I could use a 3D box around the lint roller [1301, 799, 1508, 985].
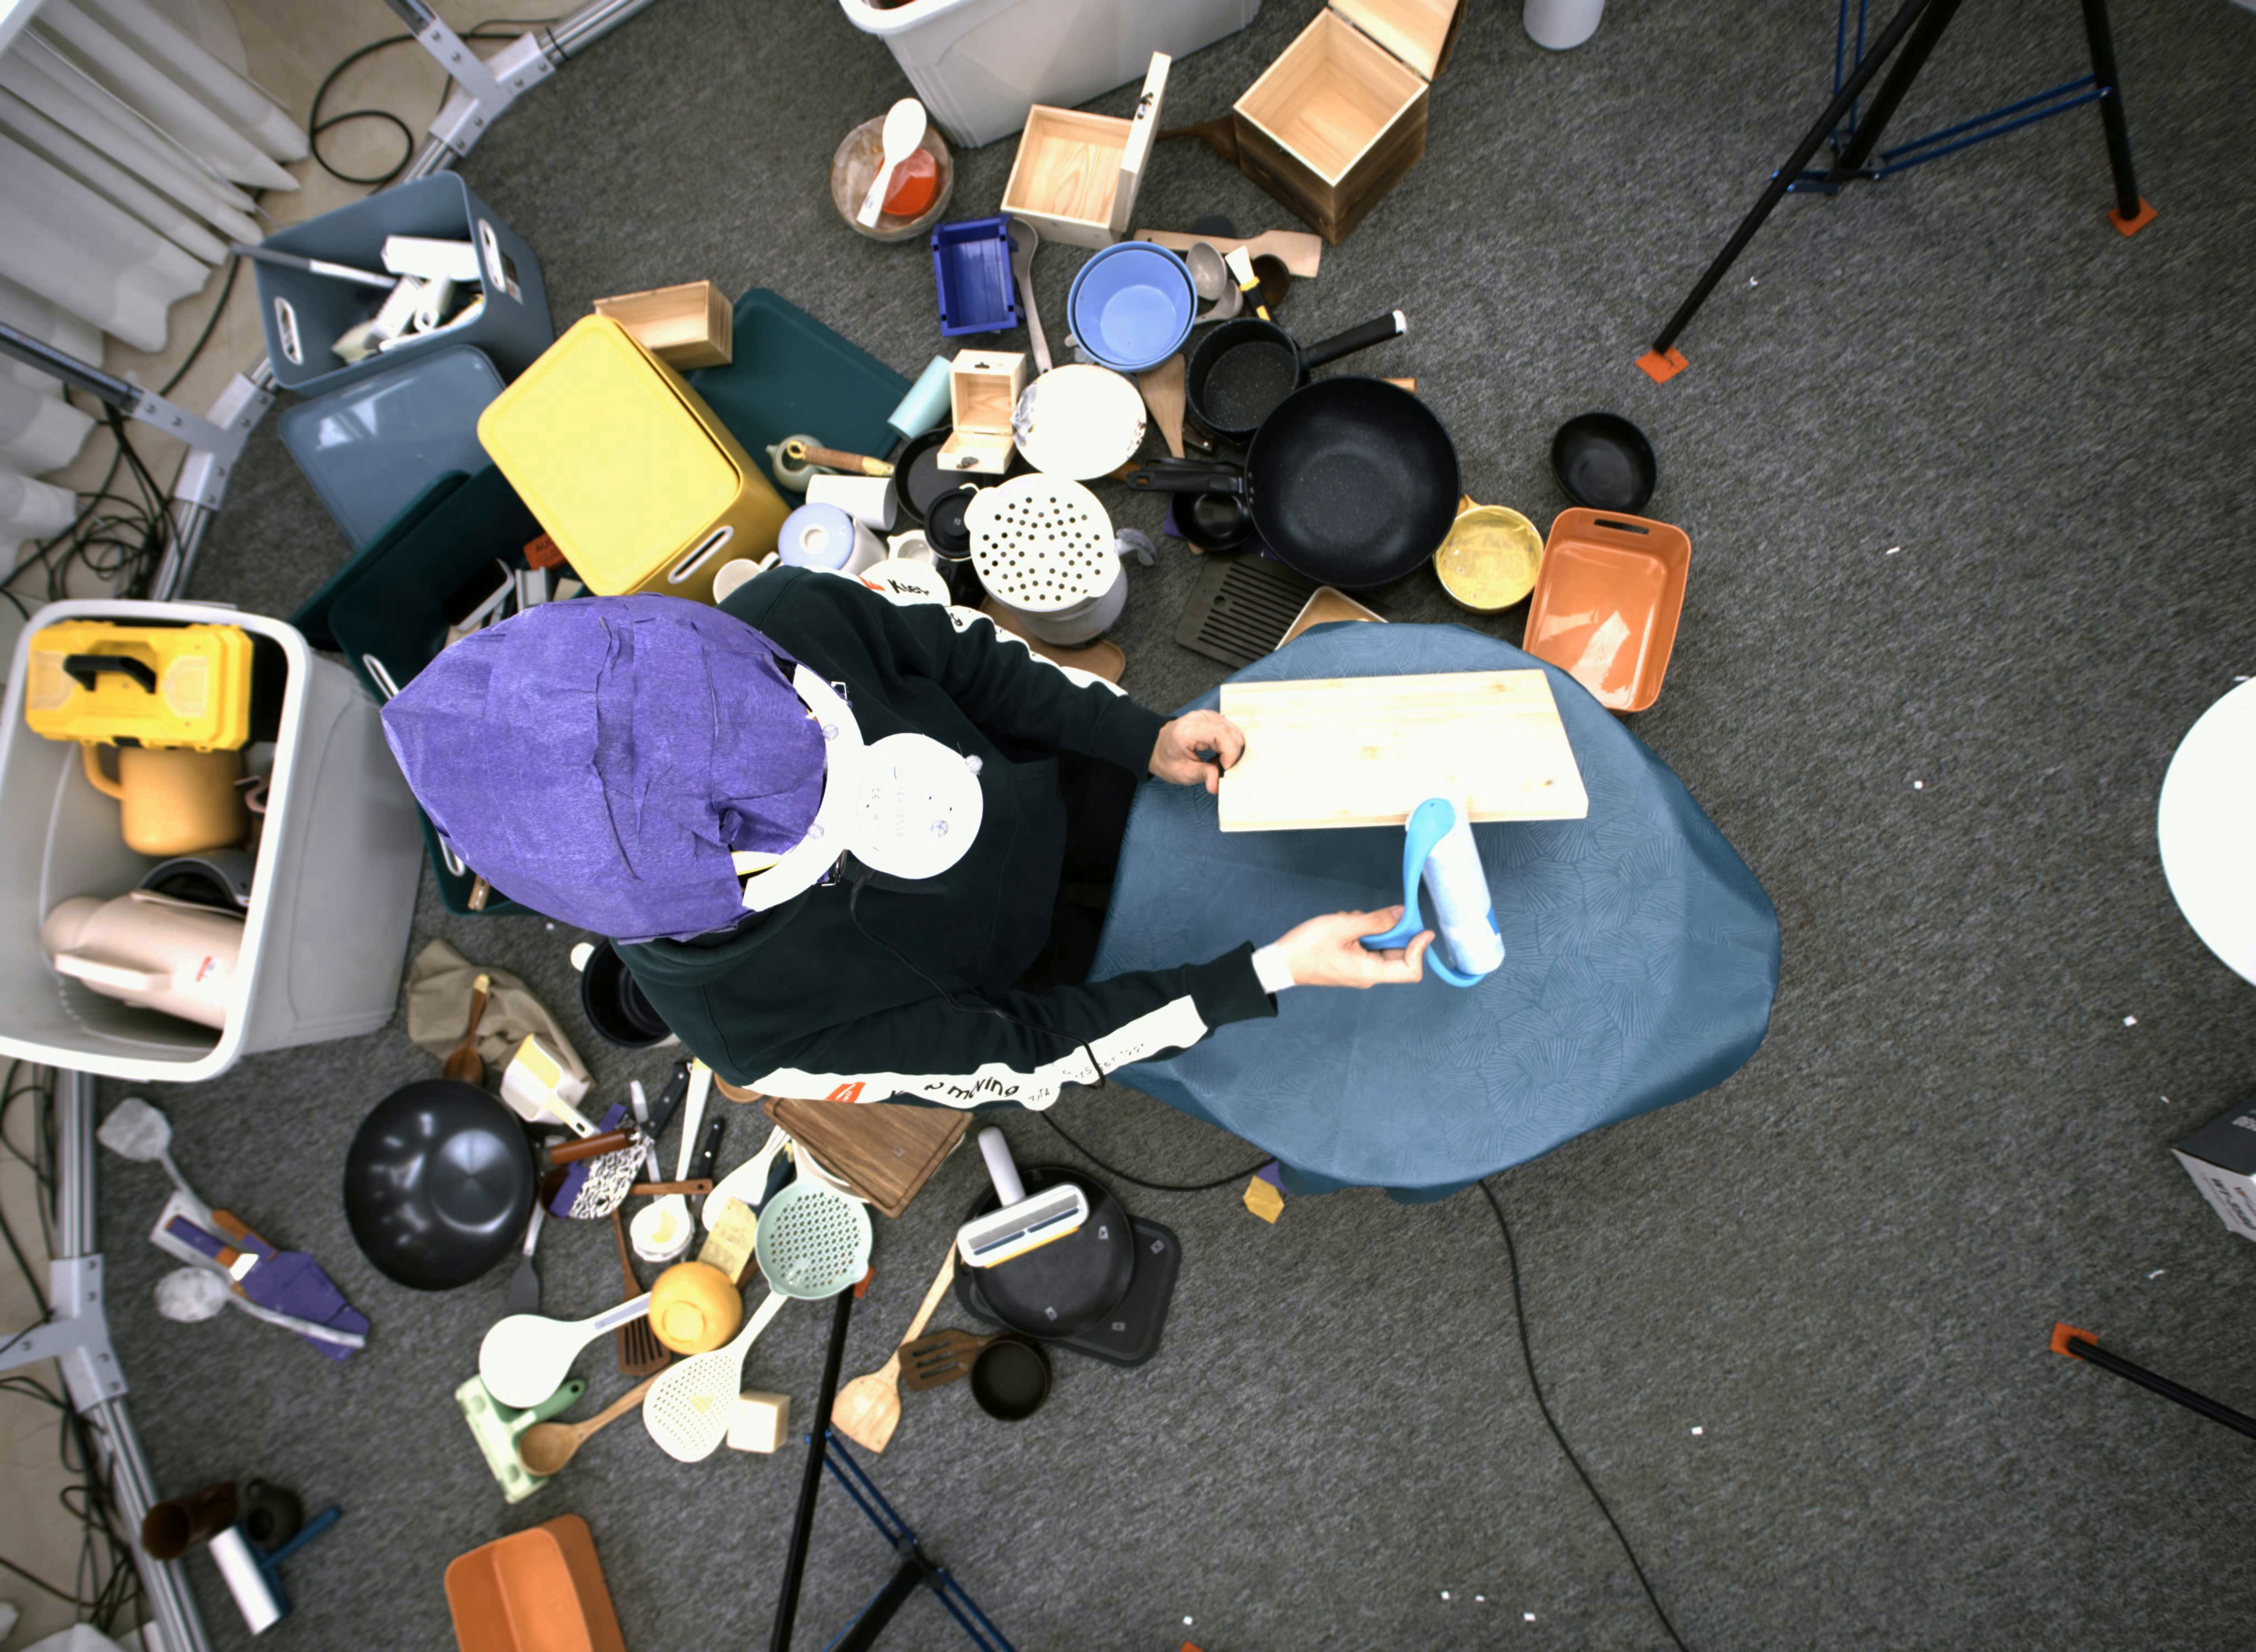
[{"bbox_3d":[0.253,0.084,1.284,0.181,0.233,0.066,-25,43,9],"label":"lint roller"}]

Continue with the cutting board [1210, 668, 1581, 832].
[{"bbox_3d":[0.256,-0.081,1.363,0.350,0.244,0.024,-3,129,6],"label":"cutting board"}]
